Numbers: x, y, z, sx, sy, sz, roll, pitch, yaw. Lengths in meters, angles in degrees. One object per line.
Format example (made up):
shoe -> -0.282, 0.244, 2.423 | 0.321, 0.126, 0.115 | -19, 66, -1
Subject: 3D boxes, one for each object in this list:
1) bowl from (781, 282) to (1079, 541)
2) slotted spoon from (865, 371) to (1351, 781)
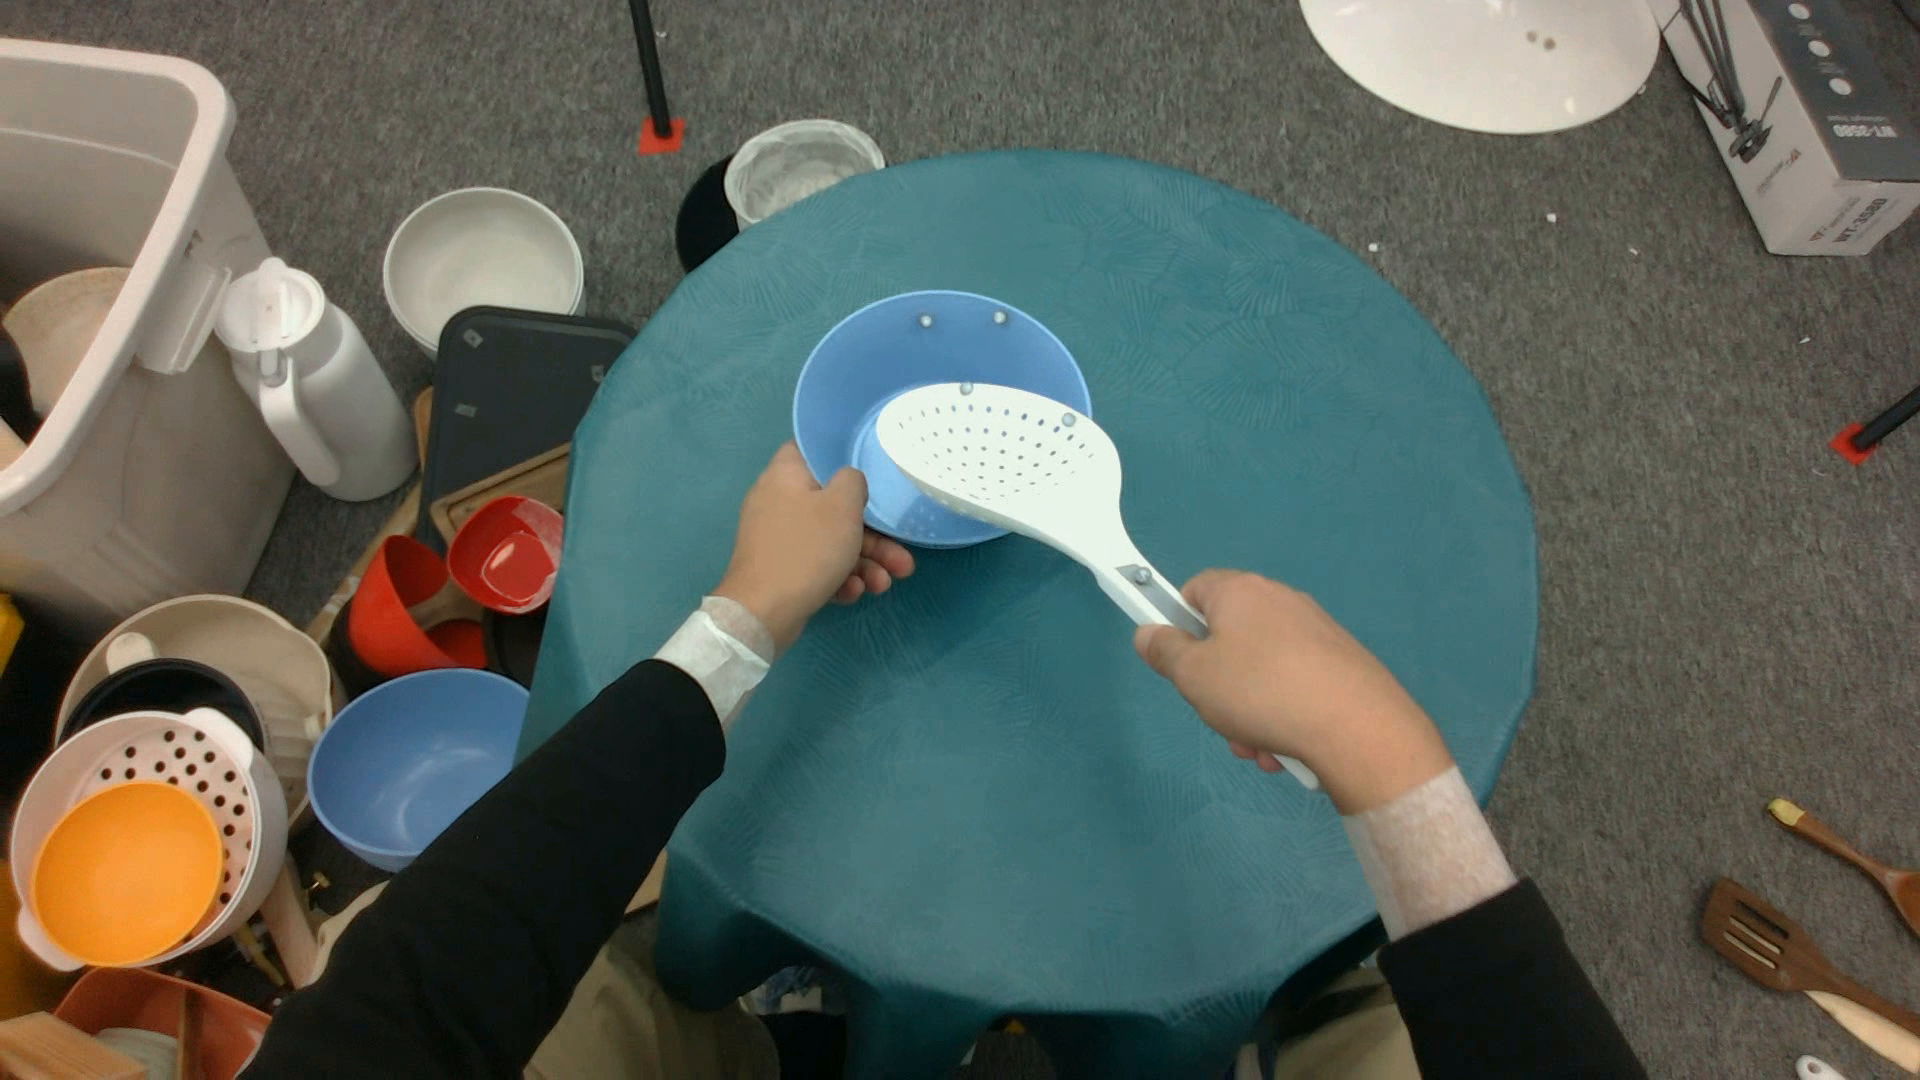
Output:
bowl -> -0.018, -0.067, 0.832 | 0.176, 0.070, 0.176 | 1, 63, -2
slotted spoon -> 0.068, 0.002, 0.693 | 0.136, 0.045, 0.350 | -9, 33, -31
